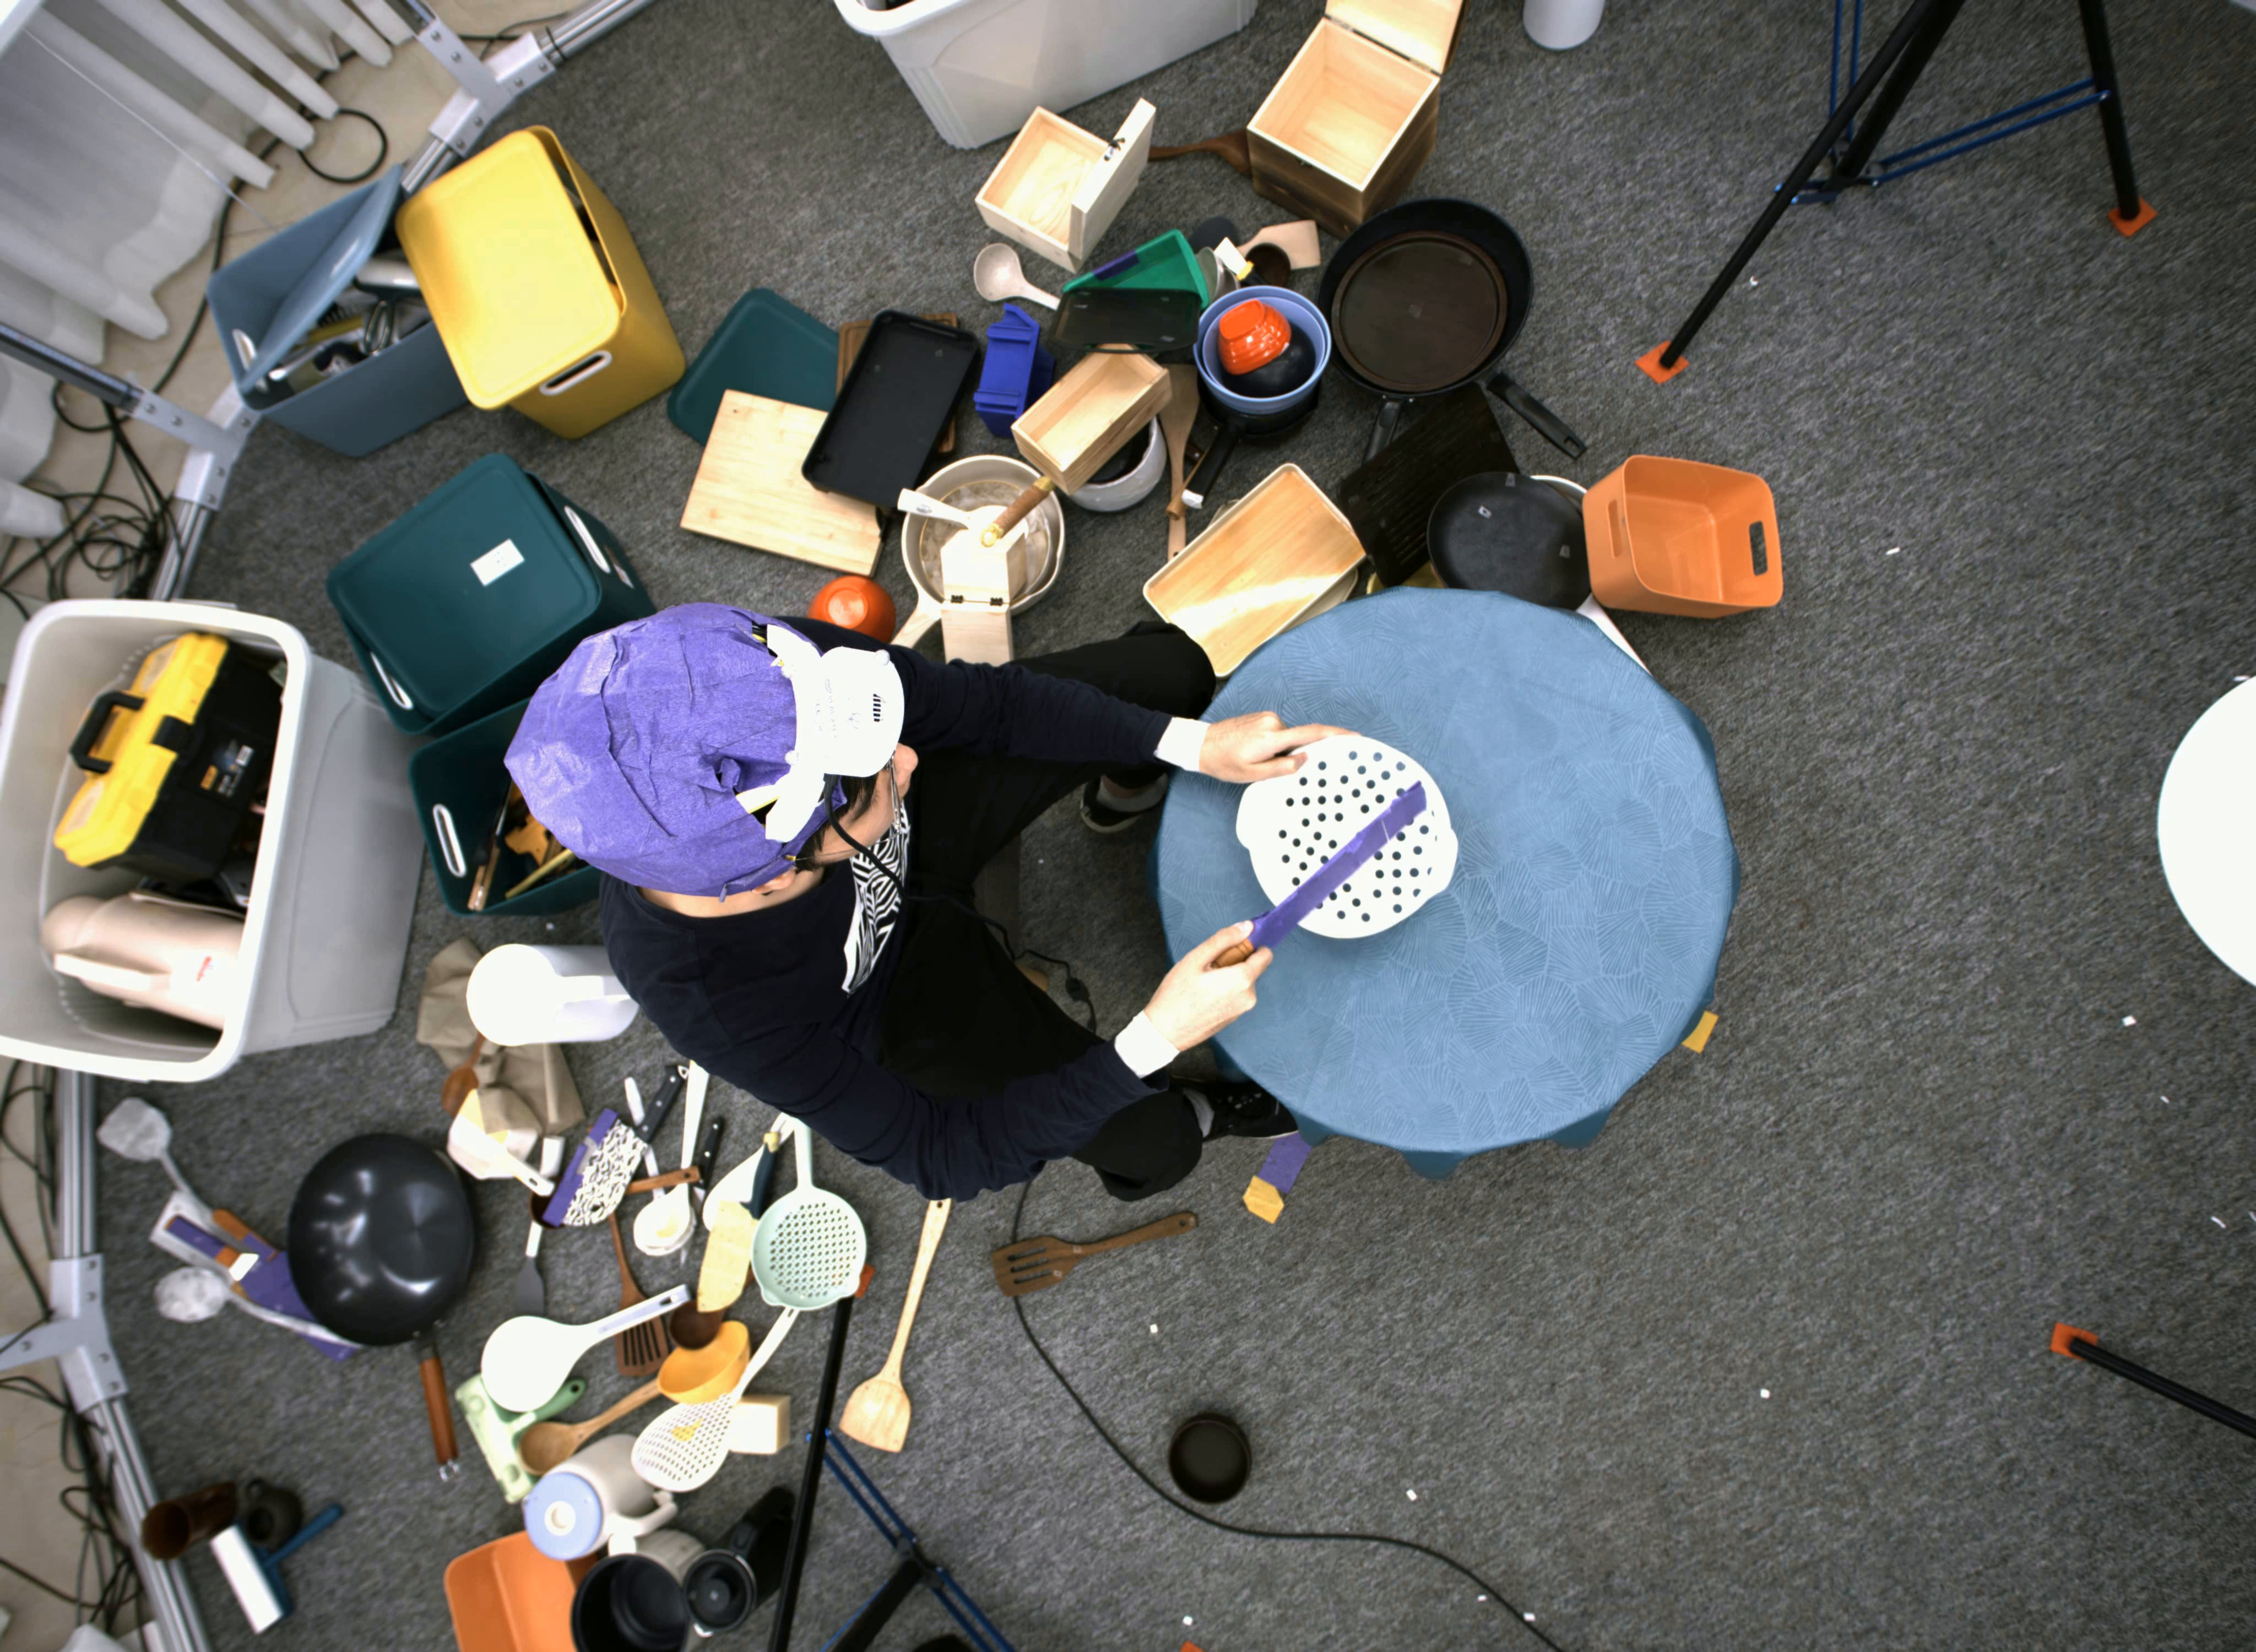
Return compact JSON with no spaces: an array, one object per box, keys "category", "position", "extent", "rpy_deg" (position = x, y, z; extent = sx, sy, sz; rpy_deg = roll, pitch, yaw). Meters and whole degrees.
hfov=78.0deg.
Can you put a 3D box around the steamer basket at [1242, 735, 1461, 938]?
[{"category":"steamer basket","position":[0.231,0.010,1.397],"extent":[0.231,0.069,0.203],"rpy_deg":[16,98,28]}]

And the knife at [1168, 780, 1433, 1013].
[{"category":"knife","position":[0.174,0.075,1.328],"extent":[0.315,0.105,0.032],"rpy_deg":[-40,64,1]}]
